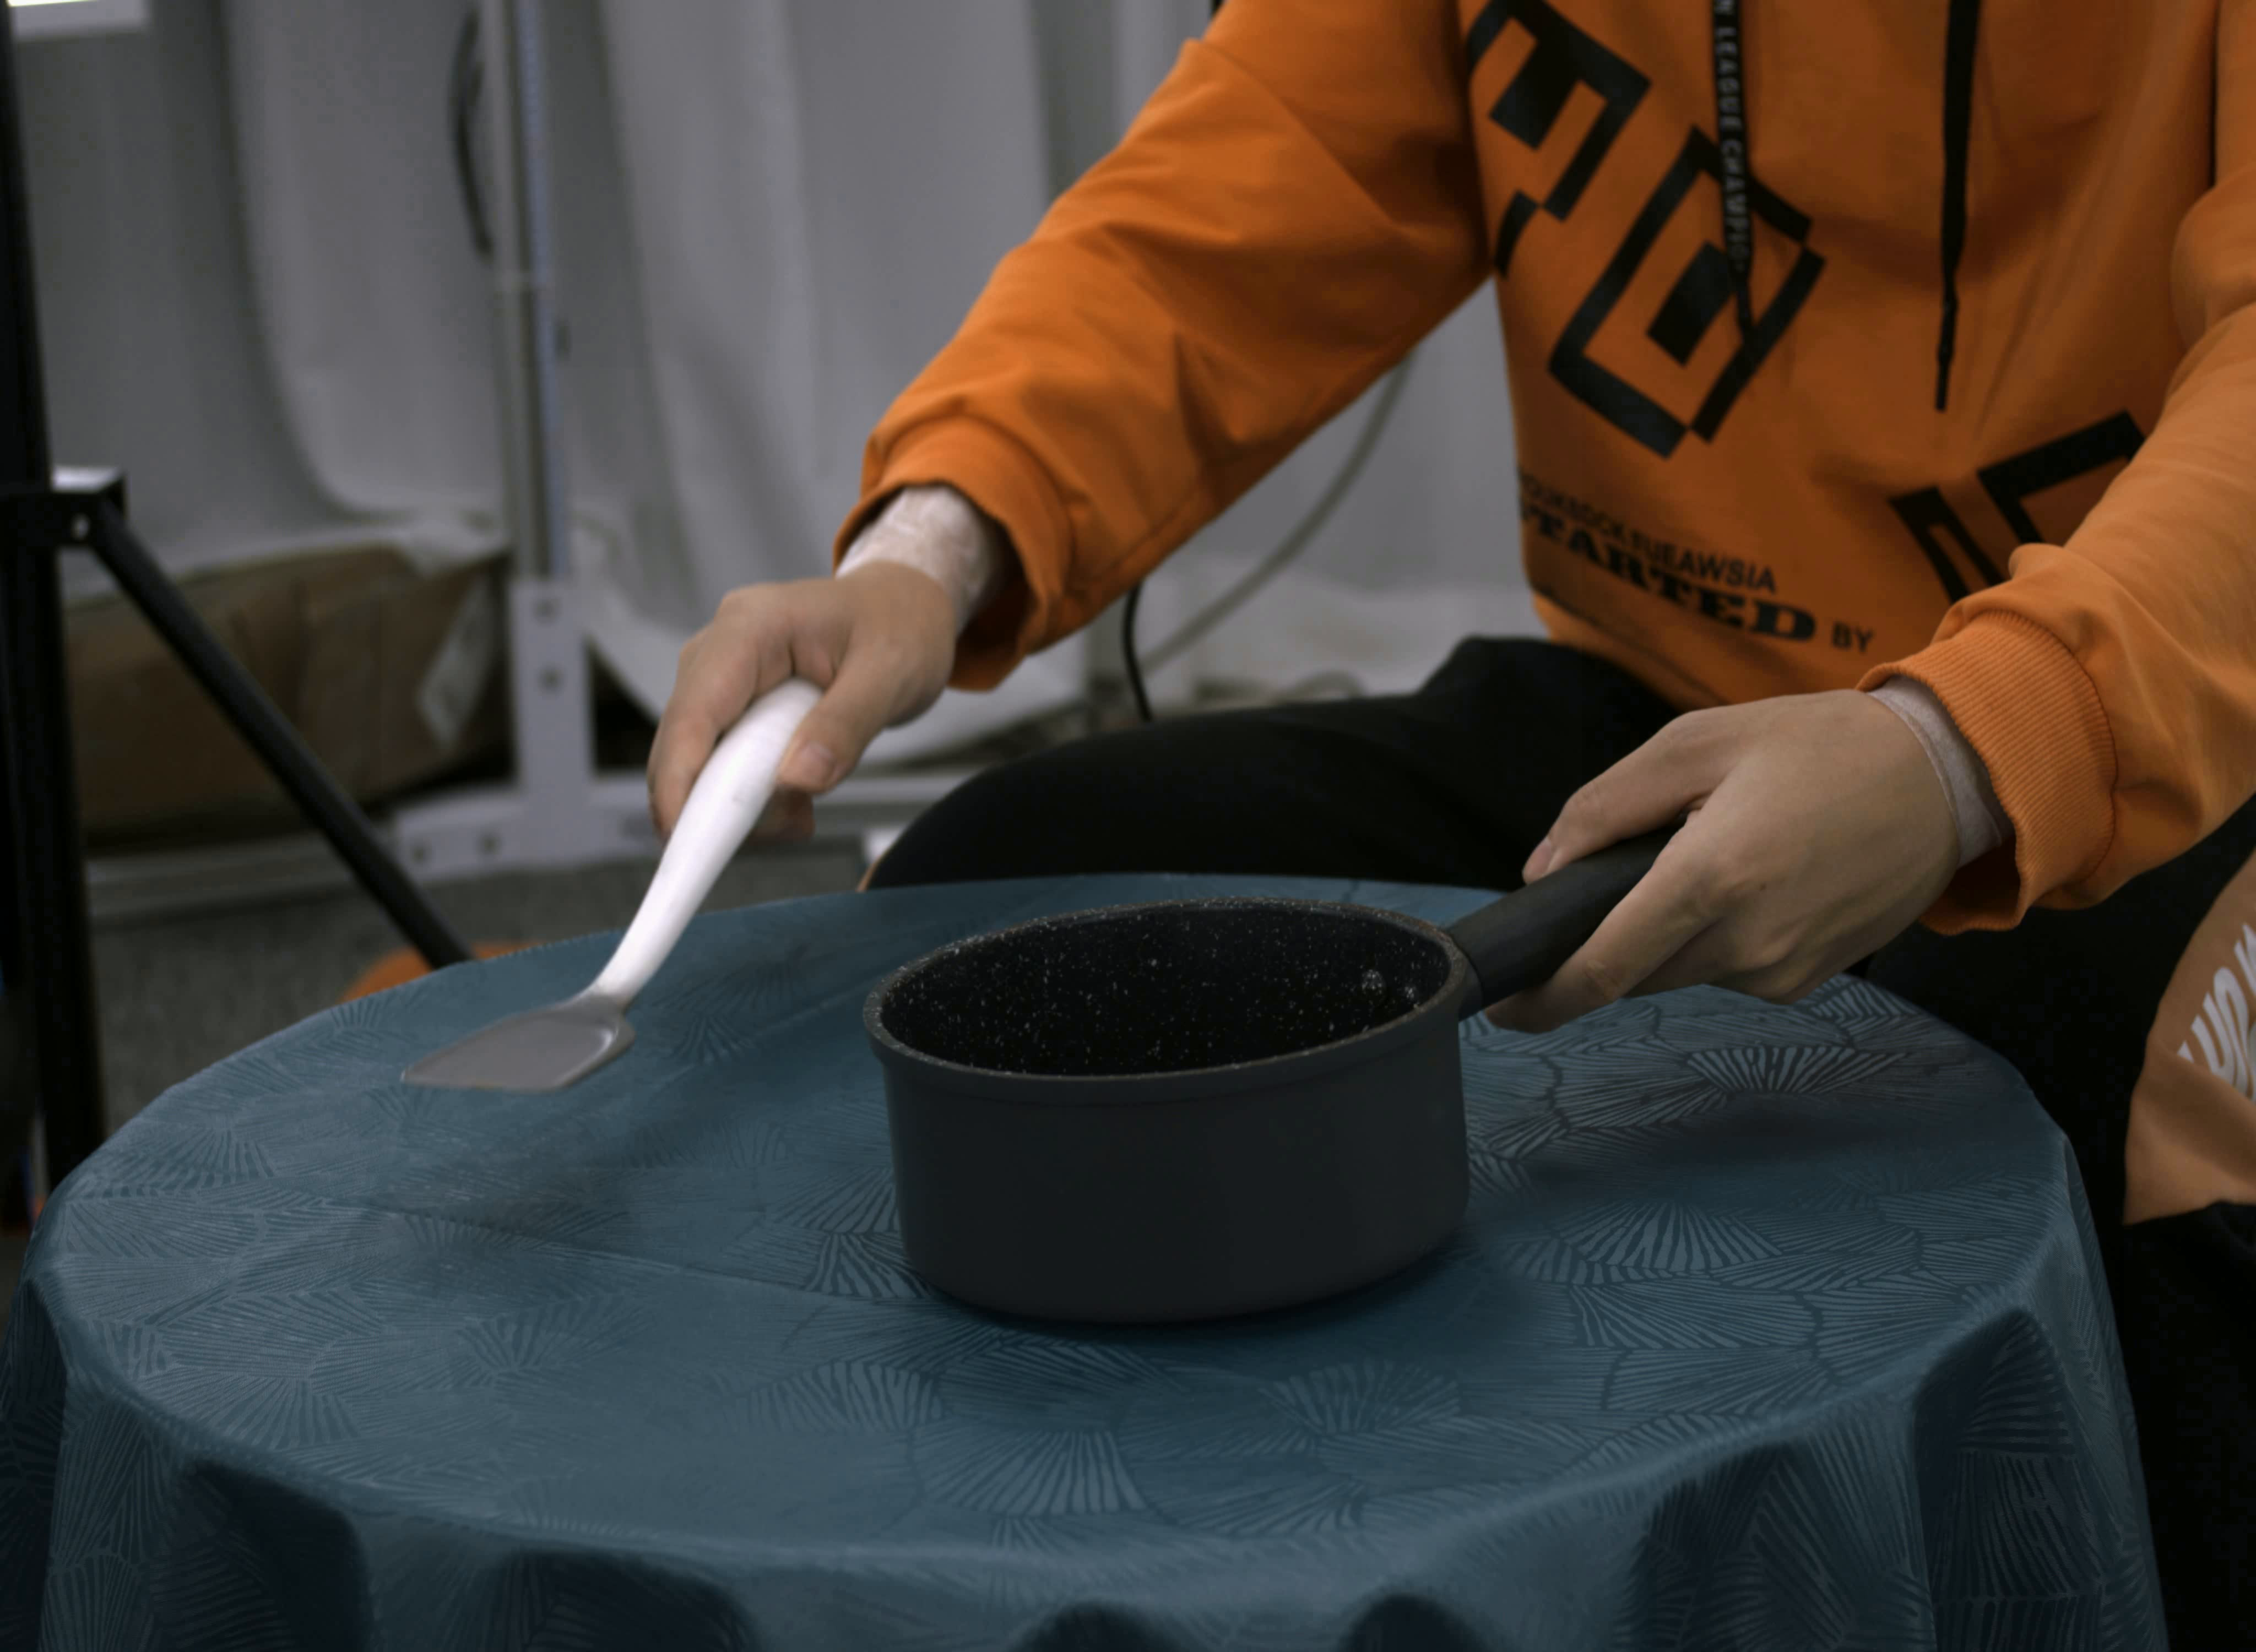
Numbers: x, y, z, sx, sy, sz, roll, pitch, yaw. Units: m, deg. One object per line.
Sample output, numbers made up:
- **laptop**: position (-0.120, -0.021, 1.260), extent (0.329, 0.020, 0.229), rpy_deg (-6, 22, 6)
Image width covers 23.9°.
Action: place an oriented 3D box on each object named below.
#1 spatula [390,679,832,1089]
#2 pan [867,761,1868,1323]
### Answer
- **spatula**: position (-0.149, 0.023, 1.646), extent (0.059, 0.032, 0.286), rpy_deg (6, 26, 14)
- **pan**: position (0.081, 0.059, 1.537), extent (0.322, 0.086, 0.176), rpy_deg (-15, 18, -27)
